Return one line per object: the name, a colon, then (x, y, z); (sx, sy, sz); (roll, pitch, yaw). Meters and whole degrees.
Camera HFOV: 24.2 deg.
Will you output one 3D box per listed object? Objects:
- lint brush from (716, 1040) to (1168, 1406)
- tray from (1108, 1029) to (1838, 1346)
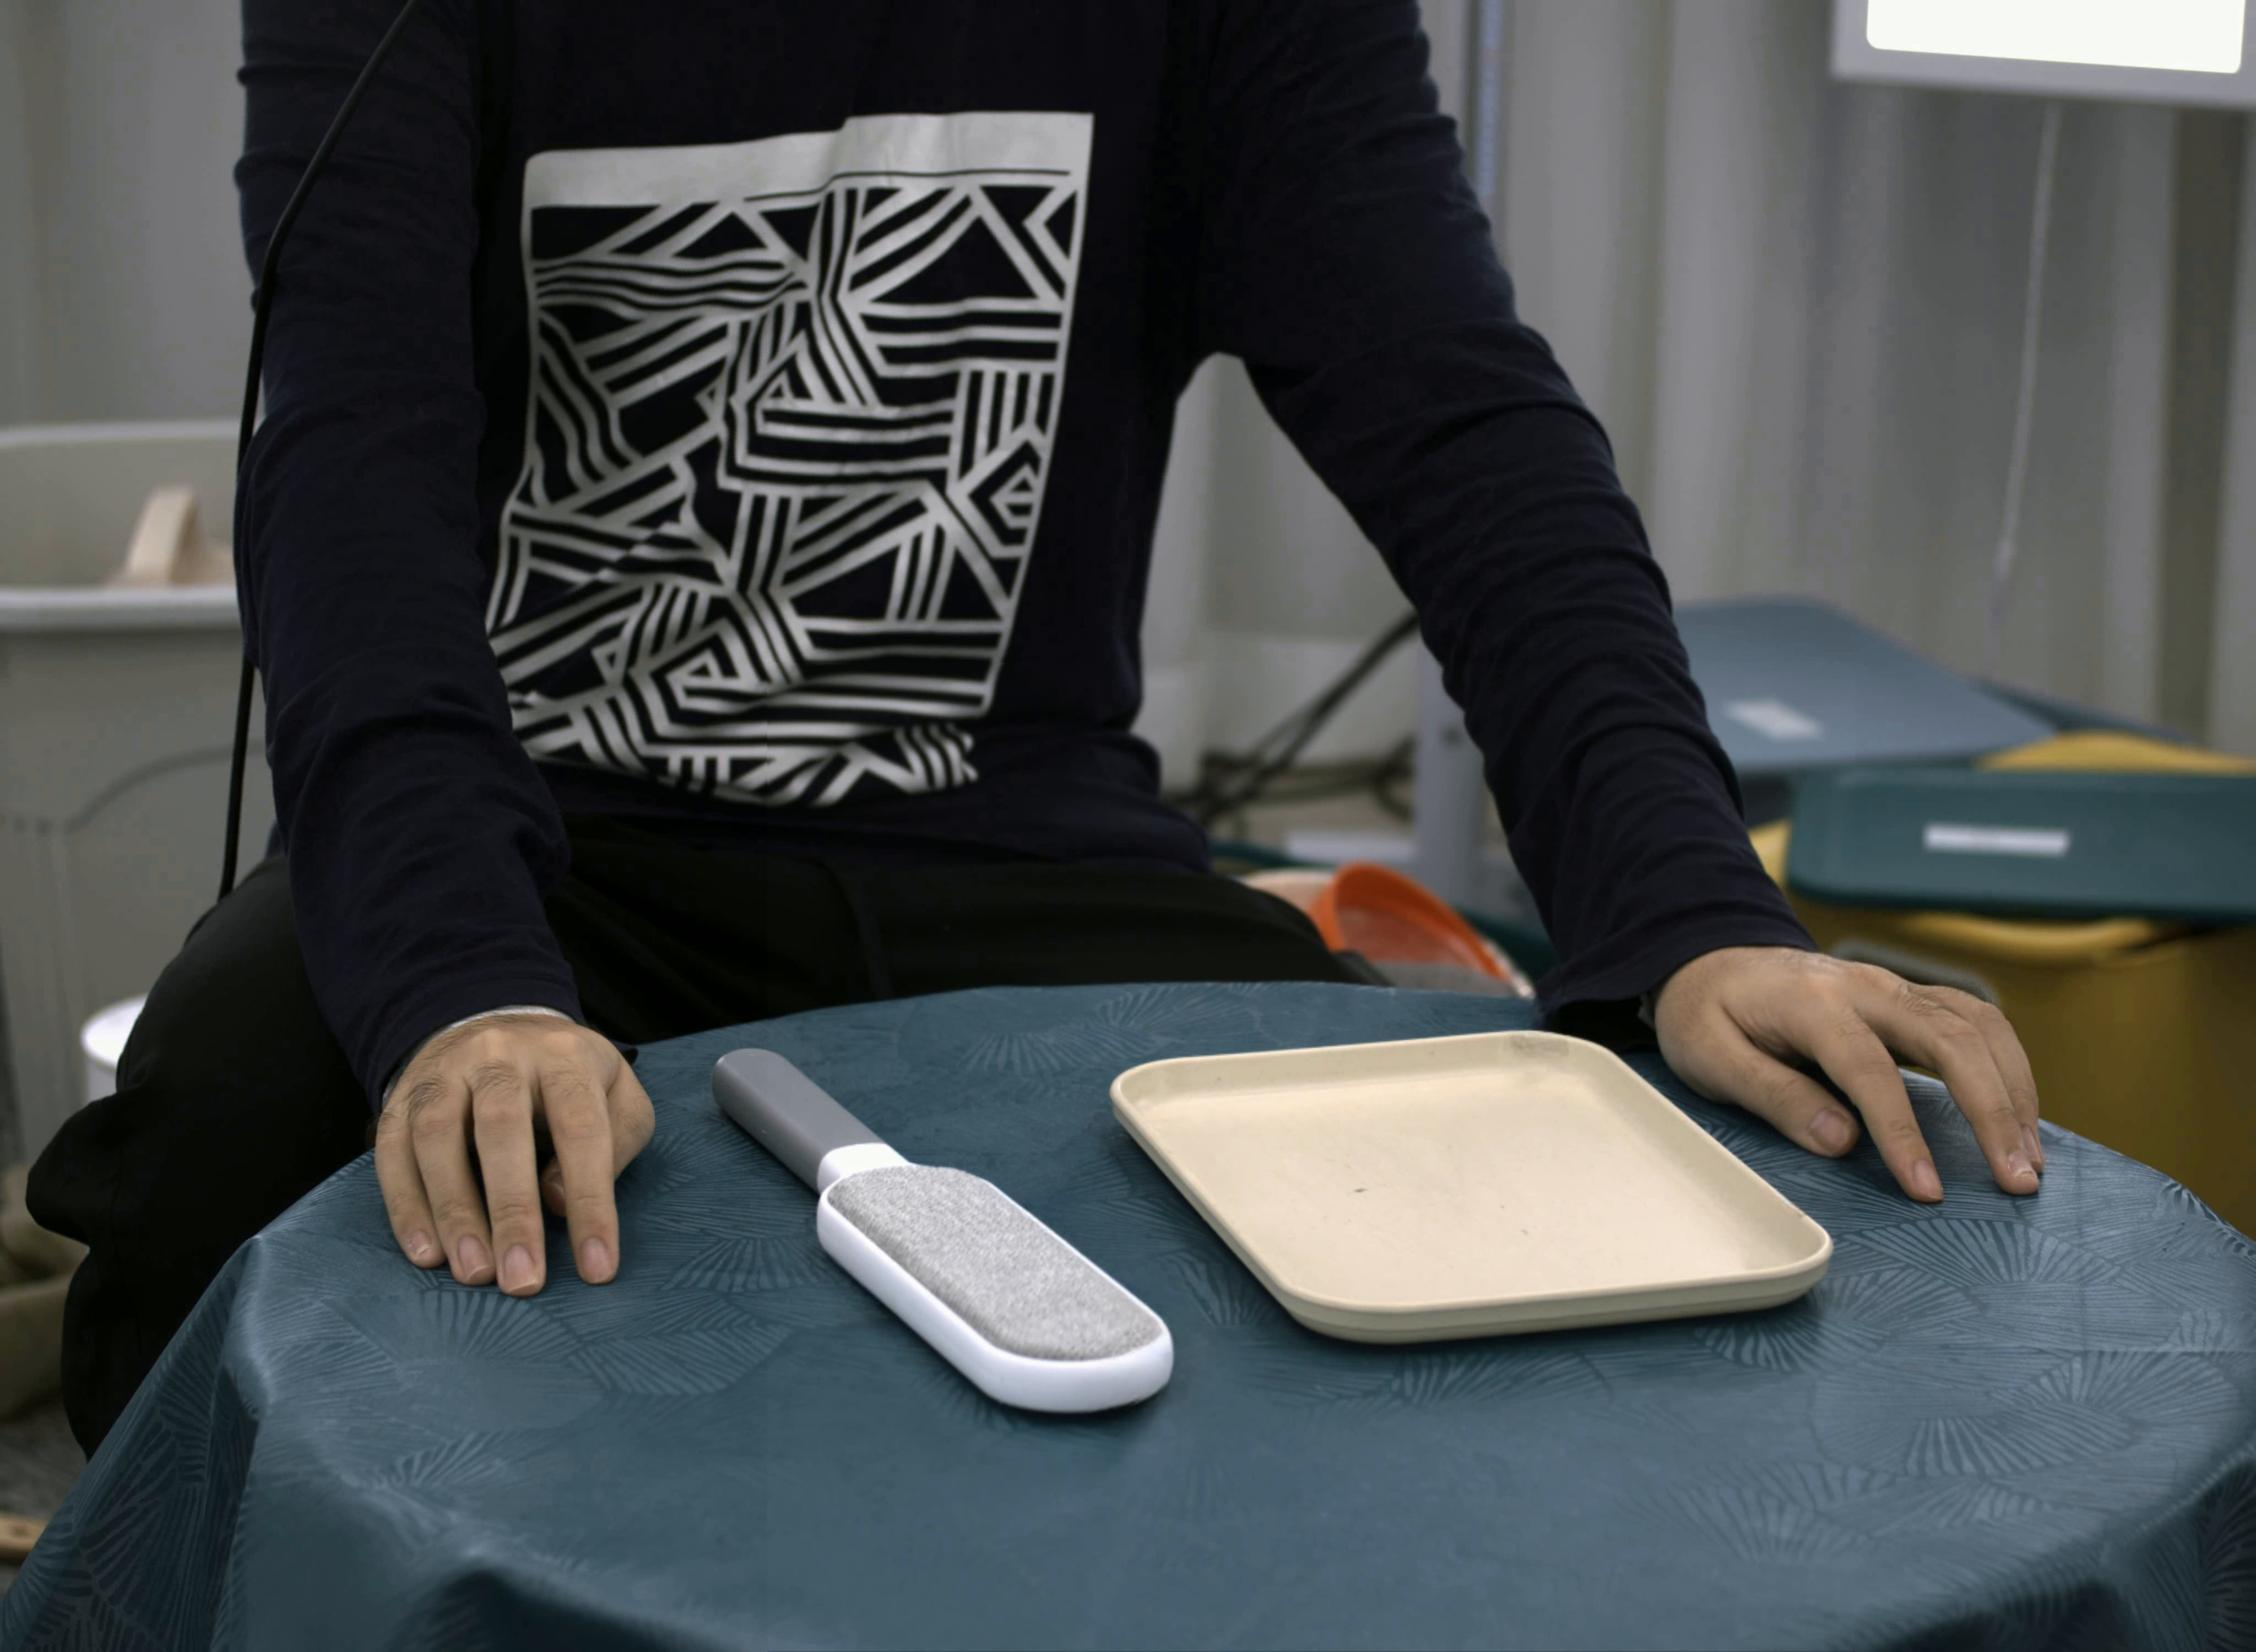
lint brush: (-0.064, 0.114, 1.568); (0.060, 0.021, 0.305); (-11, 18, -21)
tray: (0.101, 0.109, 1.609); (0.171, 0.017, 0.237); (-5, 16, -16)
